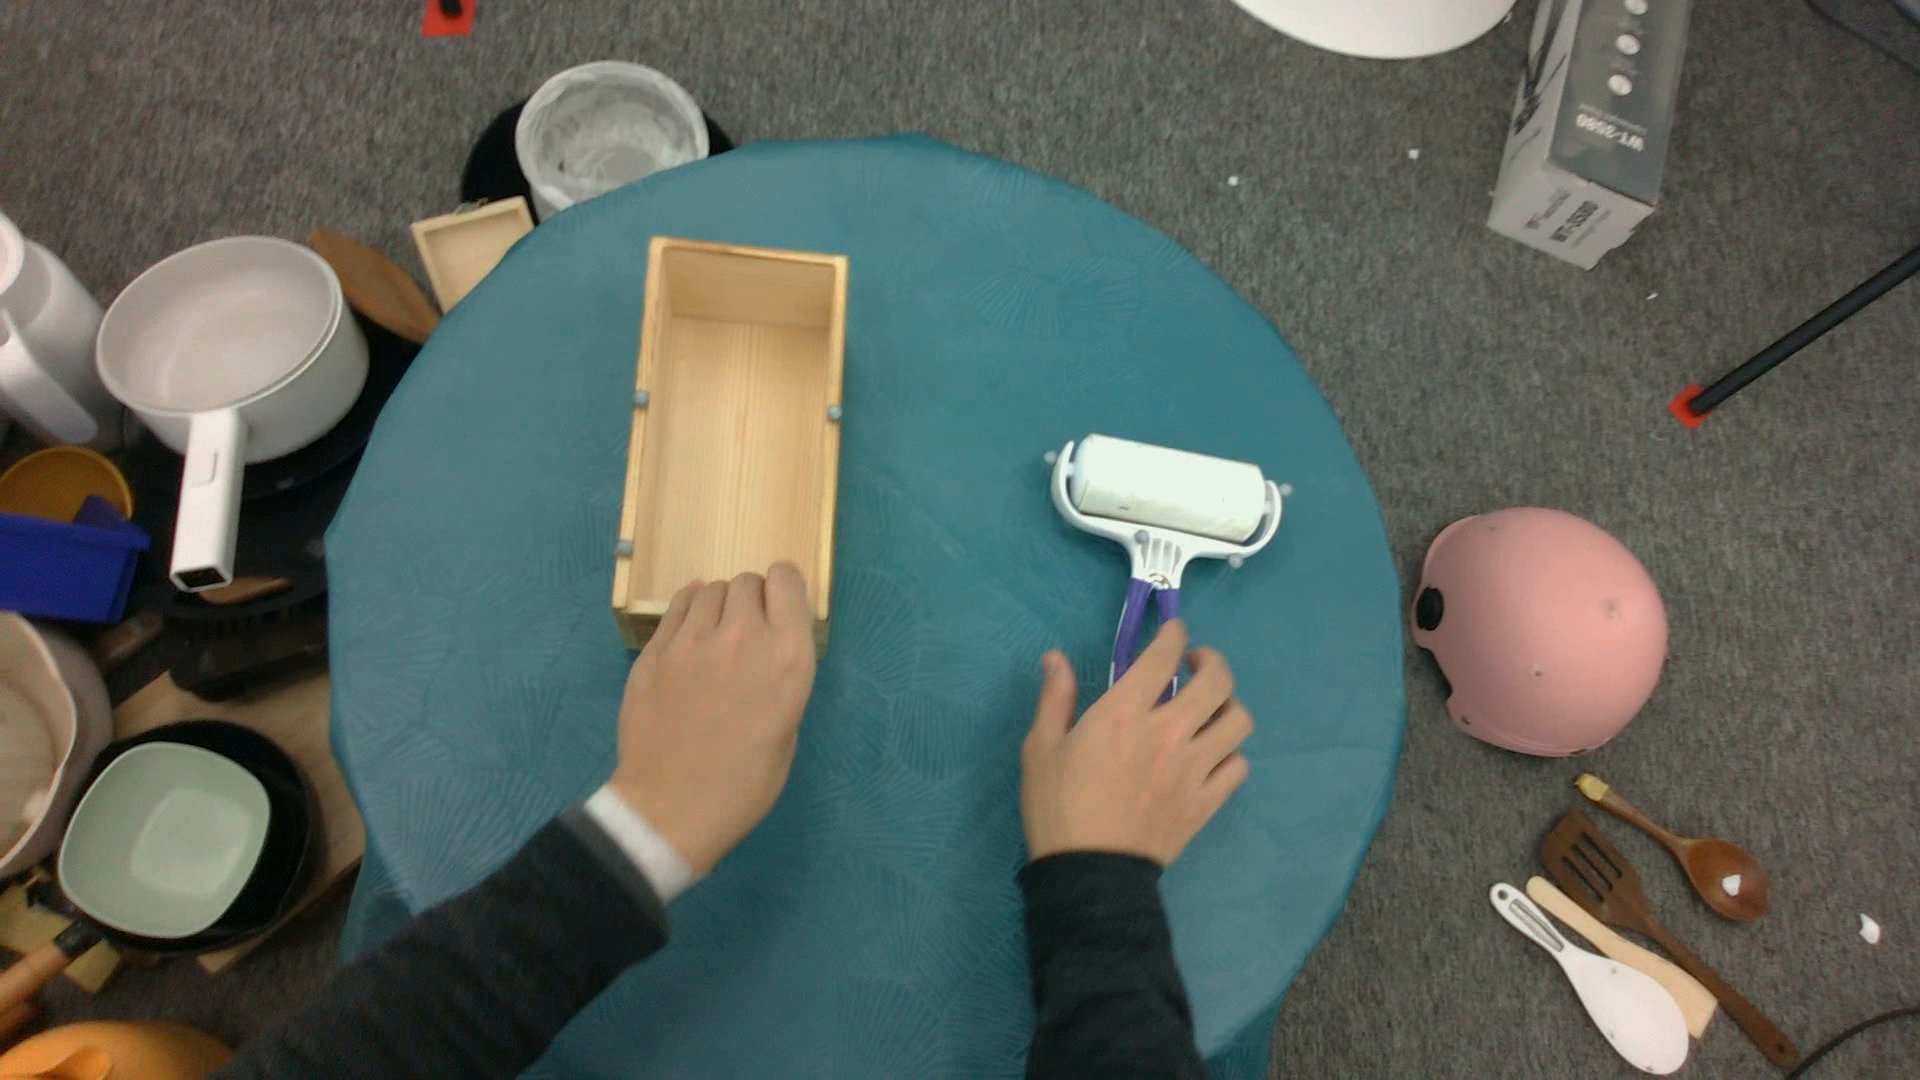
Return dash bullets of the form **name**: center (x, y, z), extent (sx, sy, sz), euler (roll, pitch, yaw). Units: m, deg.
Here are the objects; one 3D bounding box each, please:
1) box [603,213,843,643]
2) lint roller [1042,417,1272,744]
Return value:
- **box**: center (-0.124, -0.059, 0.741), extent (0.107, 0.080, 0.212), euler (4, 71, -9)
- **lint roller**: center (0.103, 0.021, 0.769), extent (0.133, 0.050, 0.181), euler (13, 67, -6)
